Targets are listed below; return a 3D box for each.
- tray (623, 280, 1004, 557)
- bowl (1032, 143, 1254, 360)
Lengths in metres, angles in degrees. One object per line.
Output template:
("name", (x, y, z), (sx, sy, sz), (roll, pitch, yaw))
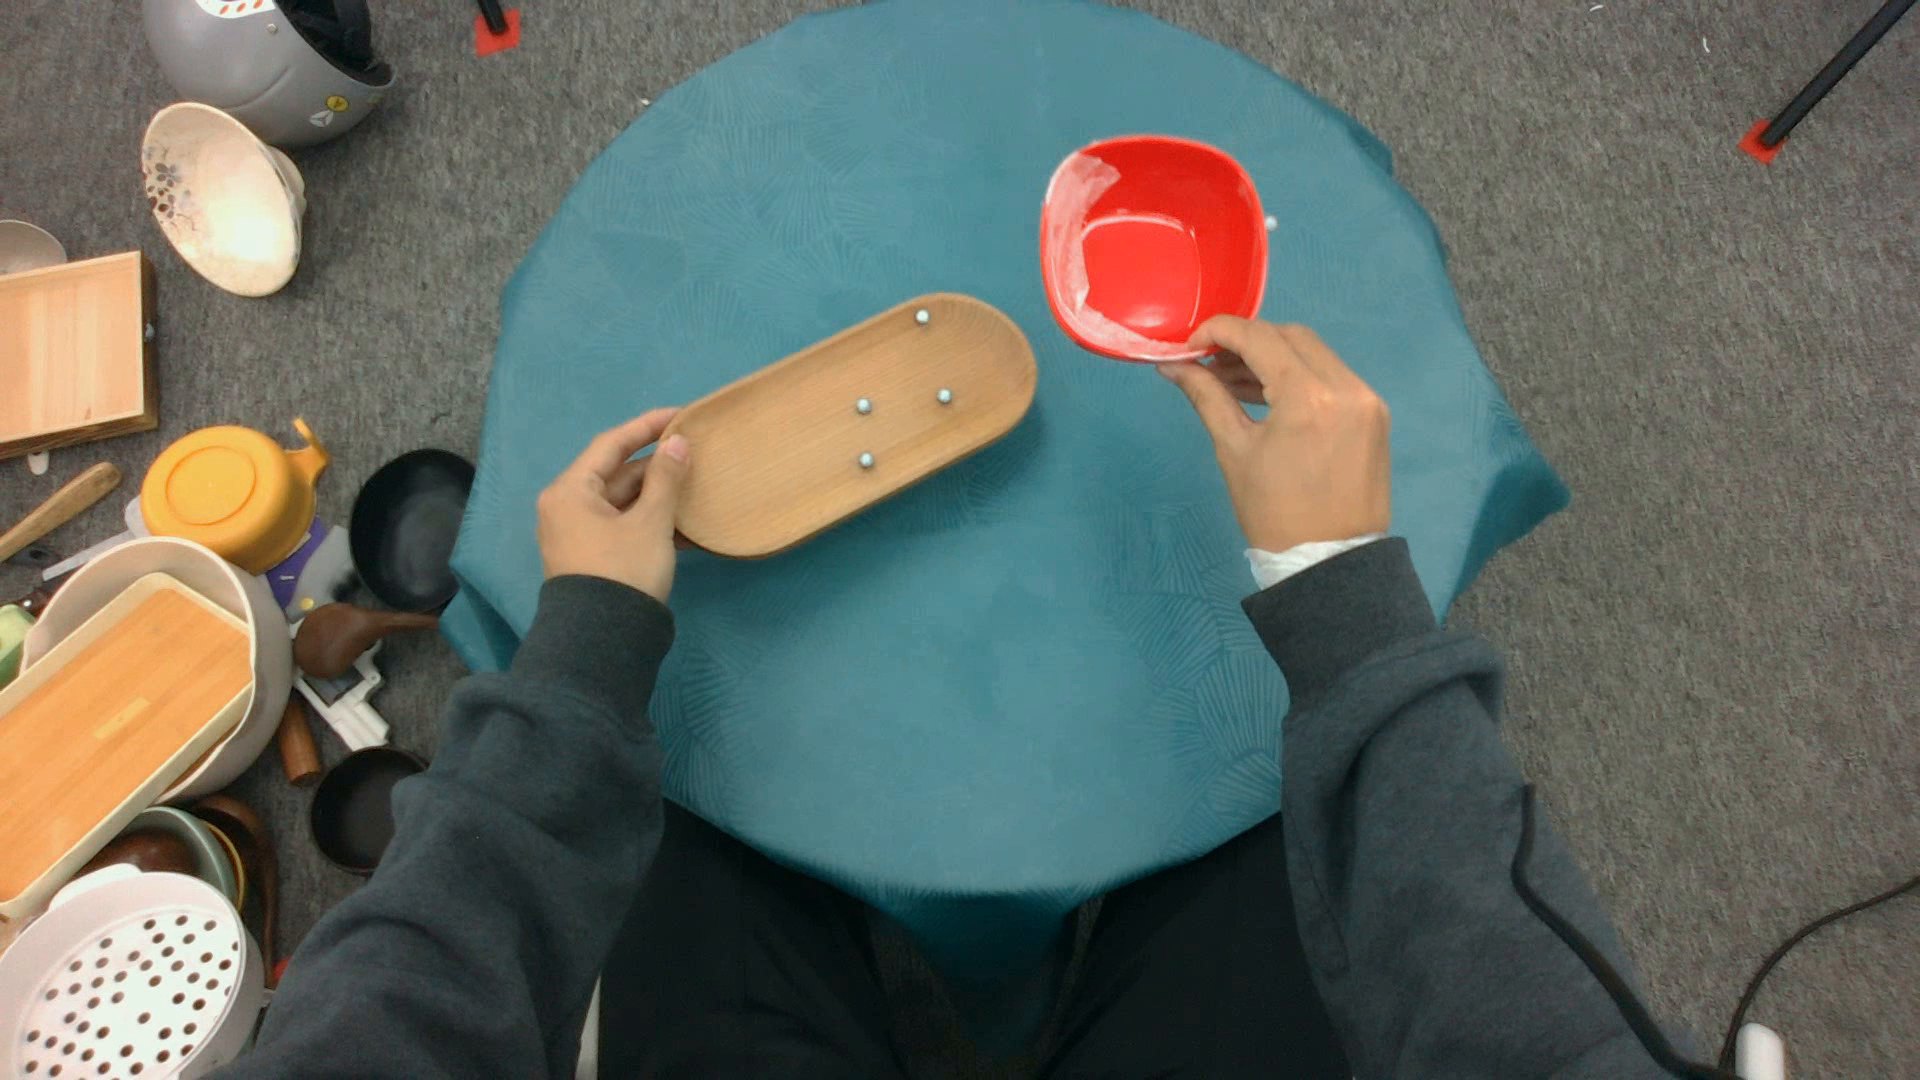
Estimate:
("tray", (-0.078, -0.070, 0.771), (0.232, 0.020, 0.102), (-32, 75, -18))
("bowl", (0.087, -0.138, 0.694), (0.119, 0.051, 0.119), (1, 78, -7))
